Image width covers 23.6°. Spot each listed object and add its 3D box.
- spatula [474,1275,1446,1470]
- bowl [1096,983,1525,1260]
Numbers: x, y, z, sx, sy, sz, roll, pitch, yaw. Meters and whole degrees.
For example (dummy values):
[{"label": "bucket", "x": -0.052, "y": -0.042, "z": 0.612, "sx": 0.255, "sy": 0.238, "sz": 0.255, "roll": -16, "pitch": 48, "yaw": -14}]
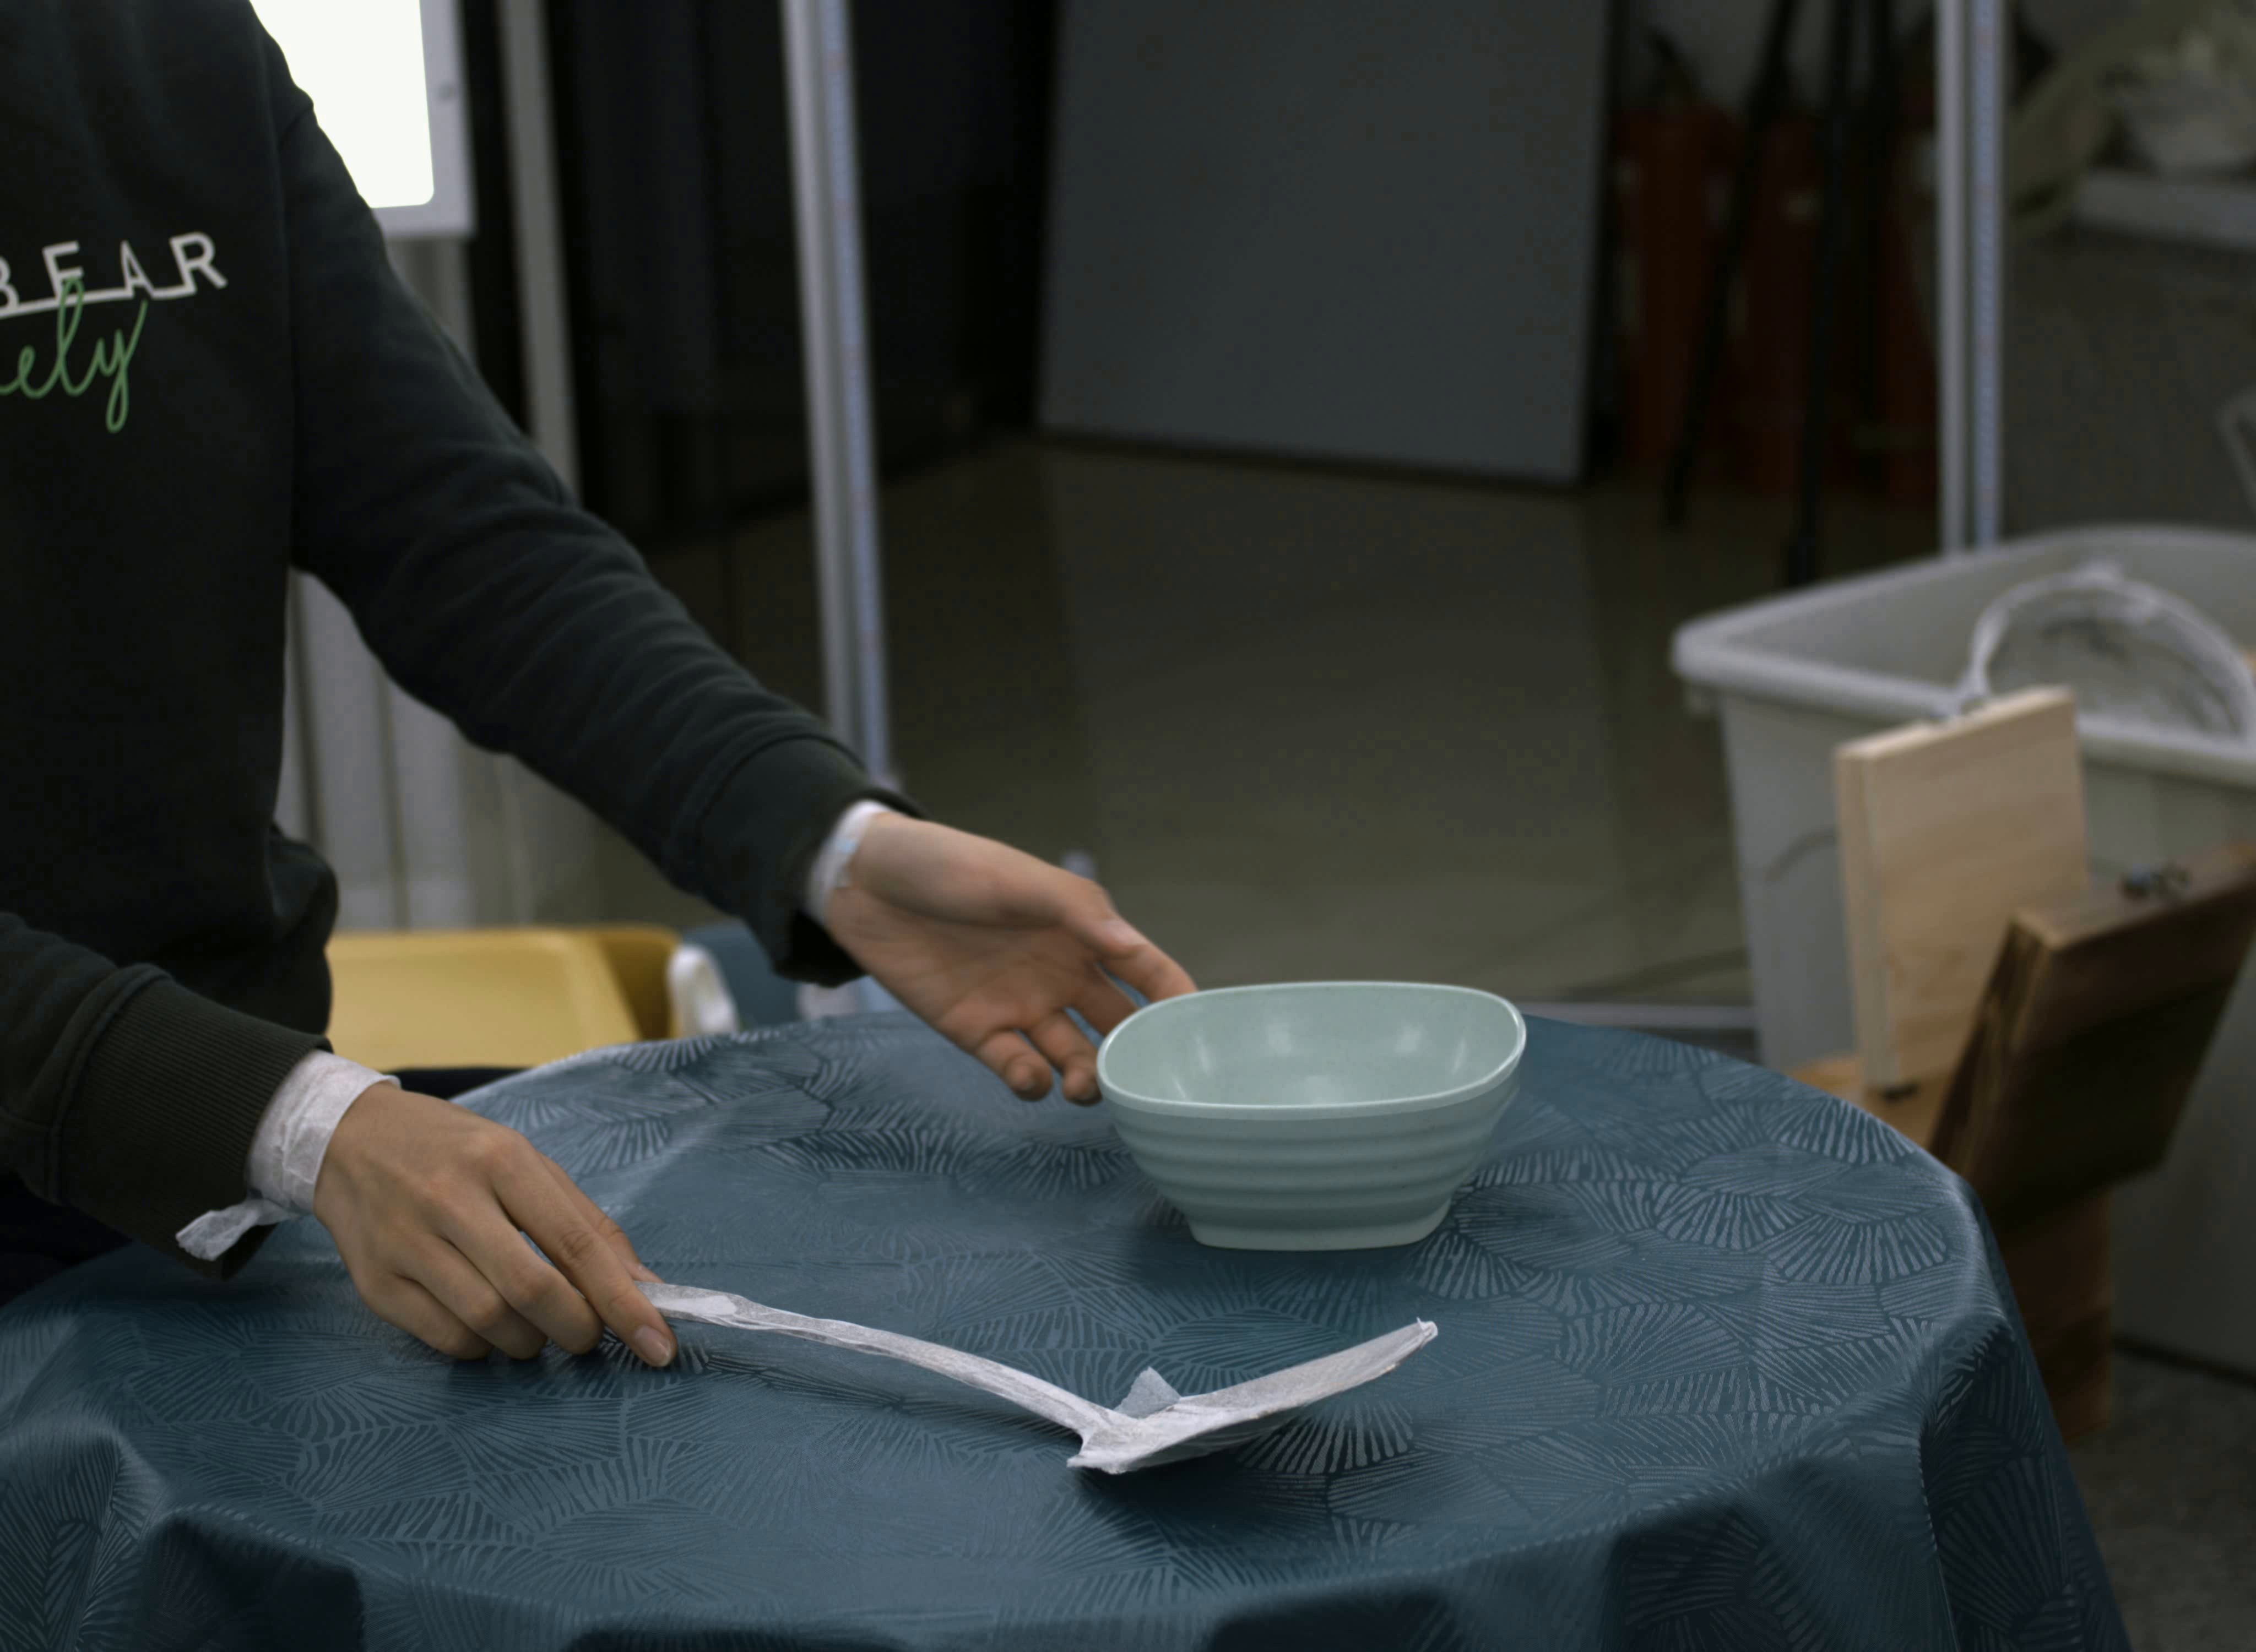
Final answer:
[{"label": "spatula", "x": -0.070, "y": 0.149, "z": 1.596, "sx": 0.367, "sy": 0.045, "sz": 0.097, "roll": 7, "pitch": 18, "yaw": 38}, {"label": "bowl", "x": 0.059, "y": 0.098, "z": 1.733, "sx": 0.149, "sy": 0.059, "sz": 0.152, "roll": -2, "pitch": 15, "yaw": 0}]
